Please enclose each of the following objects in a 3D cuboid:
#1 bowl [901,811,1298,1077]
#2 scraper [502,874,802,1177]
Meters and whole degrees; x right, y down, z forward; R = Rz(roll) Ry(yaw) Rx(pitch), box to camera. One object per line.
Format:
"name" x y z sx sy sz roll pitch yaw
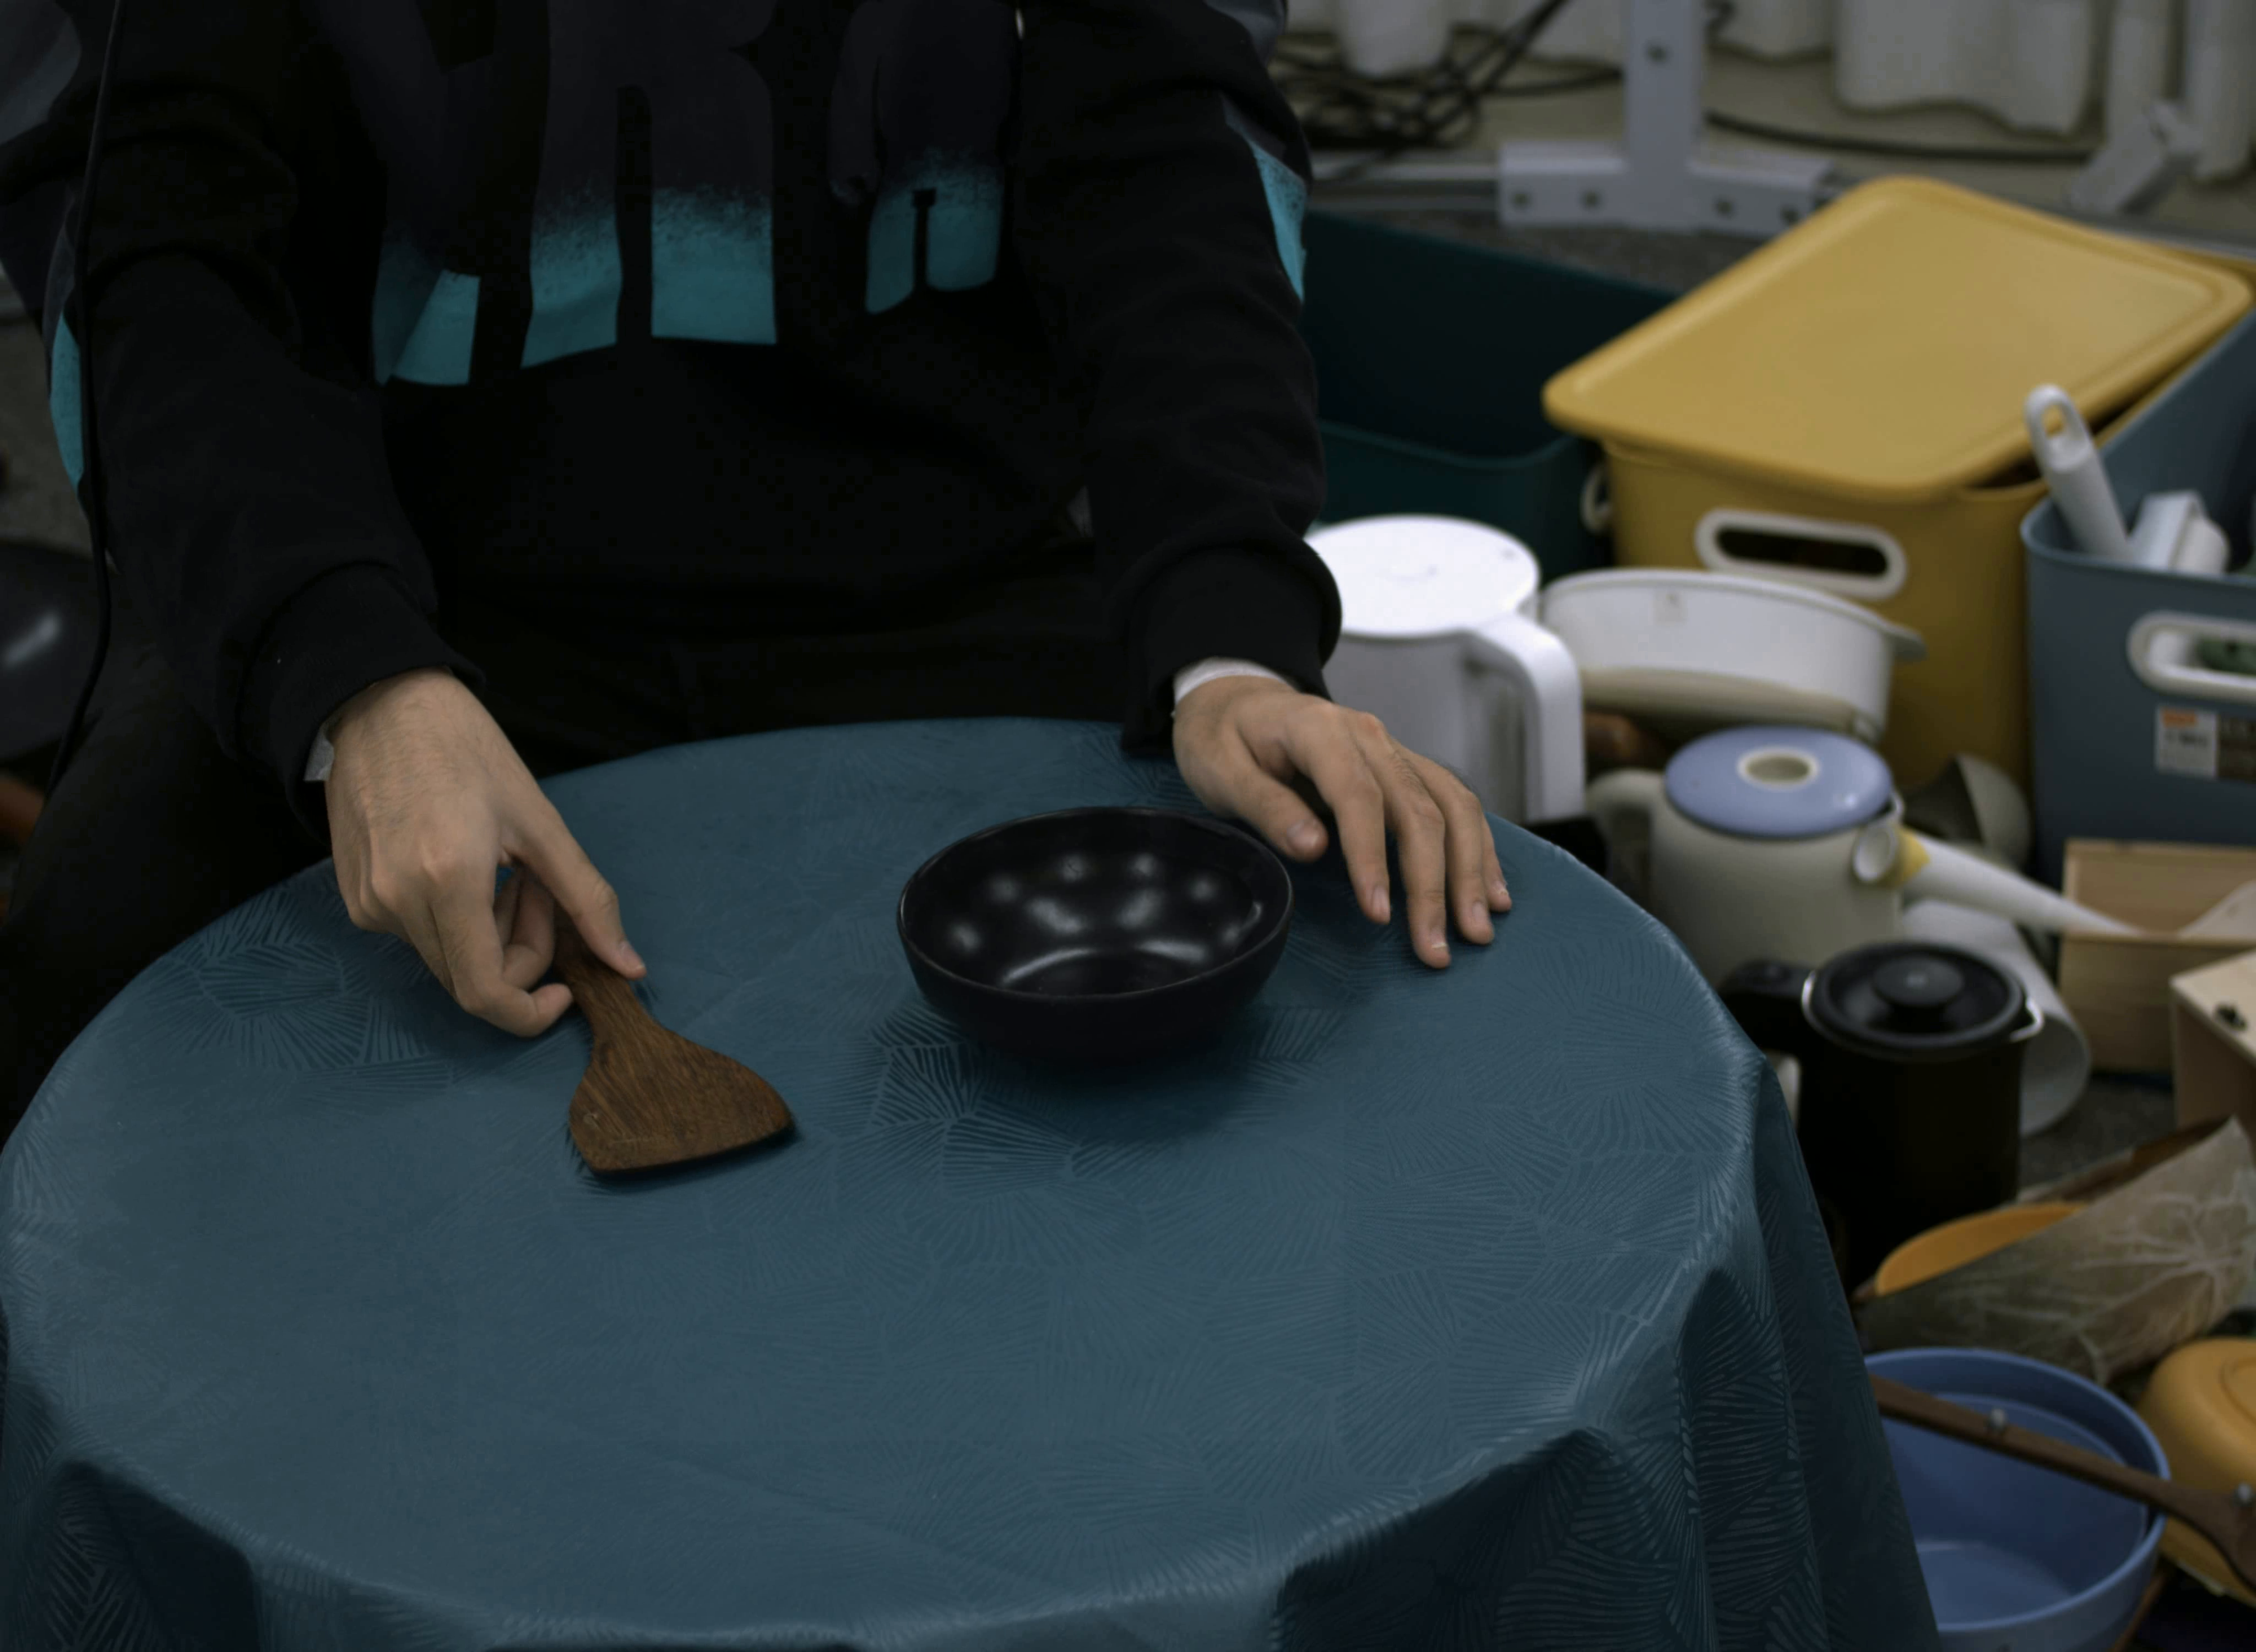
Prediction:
"bowl" -0.008 0.048 1.954 0.139 0.049 0.142 -5 27 3
"scraper" -0.179 0.068 1.969 0.076 0.010 0.213 -12 31 -18
